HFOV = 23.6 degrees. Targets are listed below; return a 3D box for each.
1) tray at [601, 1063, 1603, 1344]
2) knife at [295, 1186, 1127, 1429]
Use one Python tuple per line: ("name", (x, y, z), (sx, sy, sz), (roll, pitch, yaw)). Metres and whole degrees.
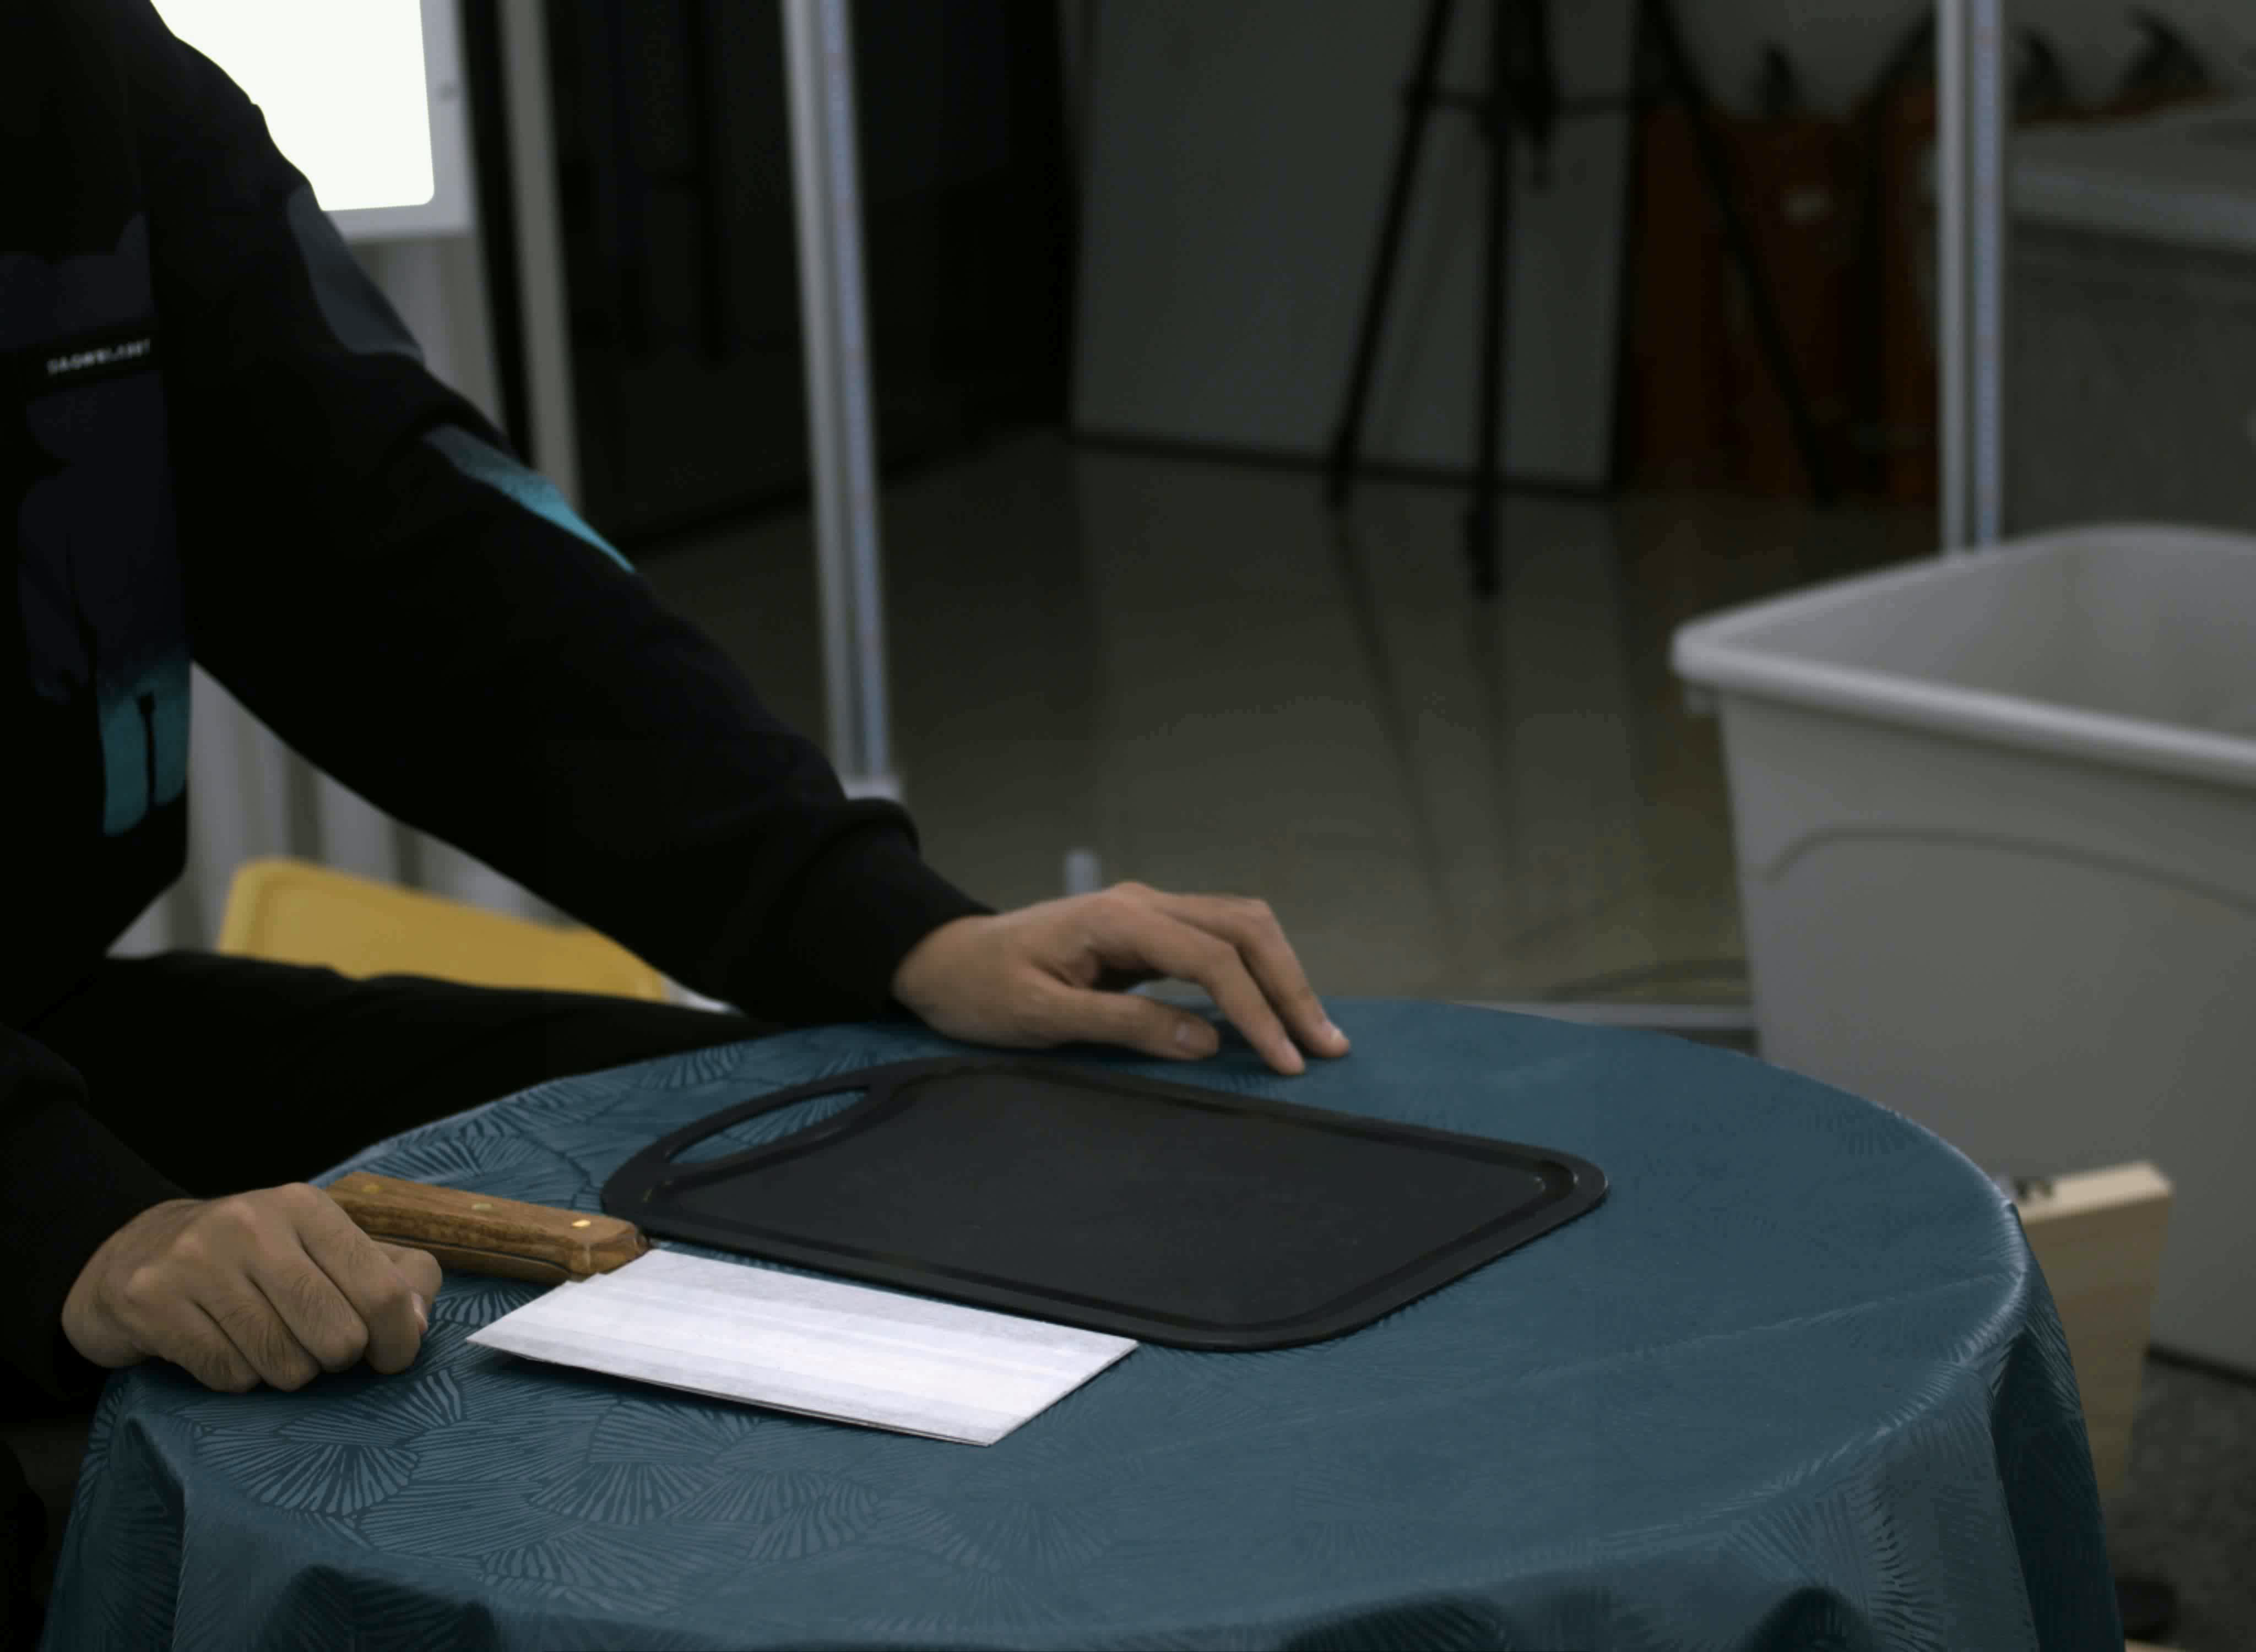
("tray", (-0.018, 0.119, 1.772), (0.328, 0.010, 0.207), (8, 18, 40))
("knife", (-0.147, 0.151, 1.664), (0.307, 0.021, 0.091), (7, 19, 31))
